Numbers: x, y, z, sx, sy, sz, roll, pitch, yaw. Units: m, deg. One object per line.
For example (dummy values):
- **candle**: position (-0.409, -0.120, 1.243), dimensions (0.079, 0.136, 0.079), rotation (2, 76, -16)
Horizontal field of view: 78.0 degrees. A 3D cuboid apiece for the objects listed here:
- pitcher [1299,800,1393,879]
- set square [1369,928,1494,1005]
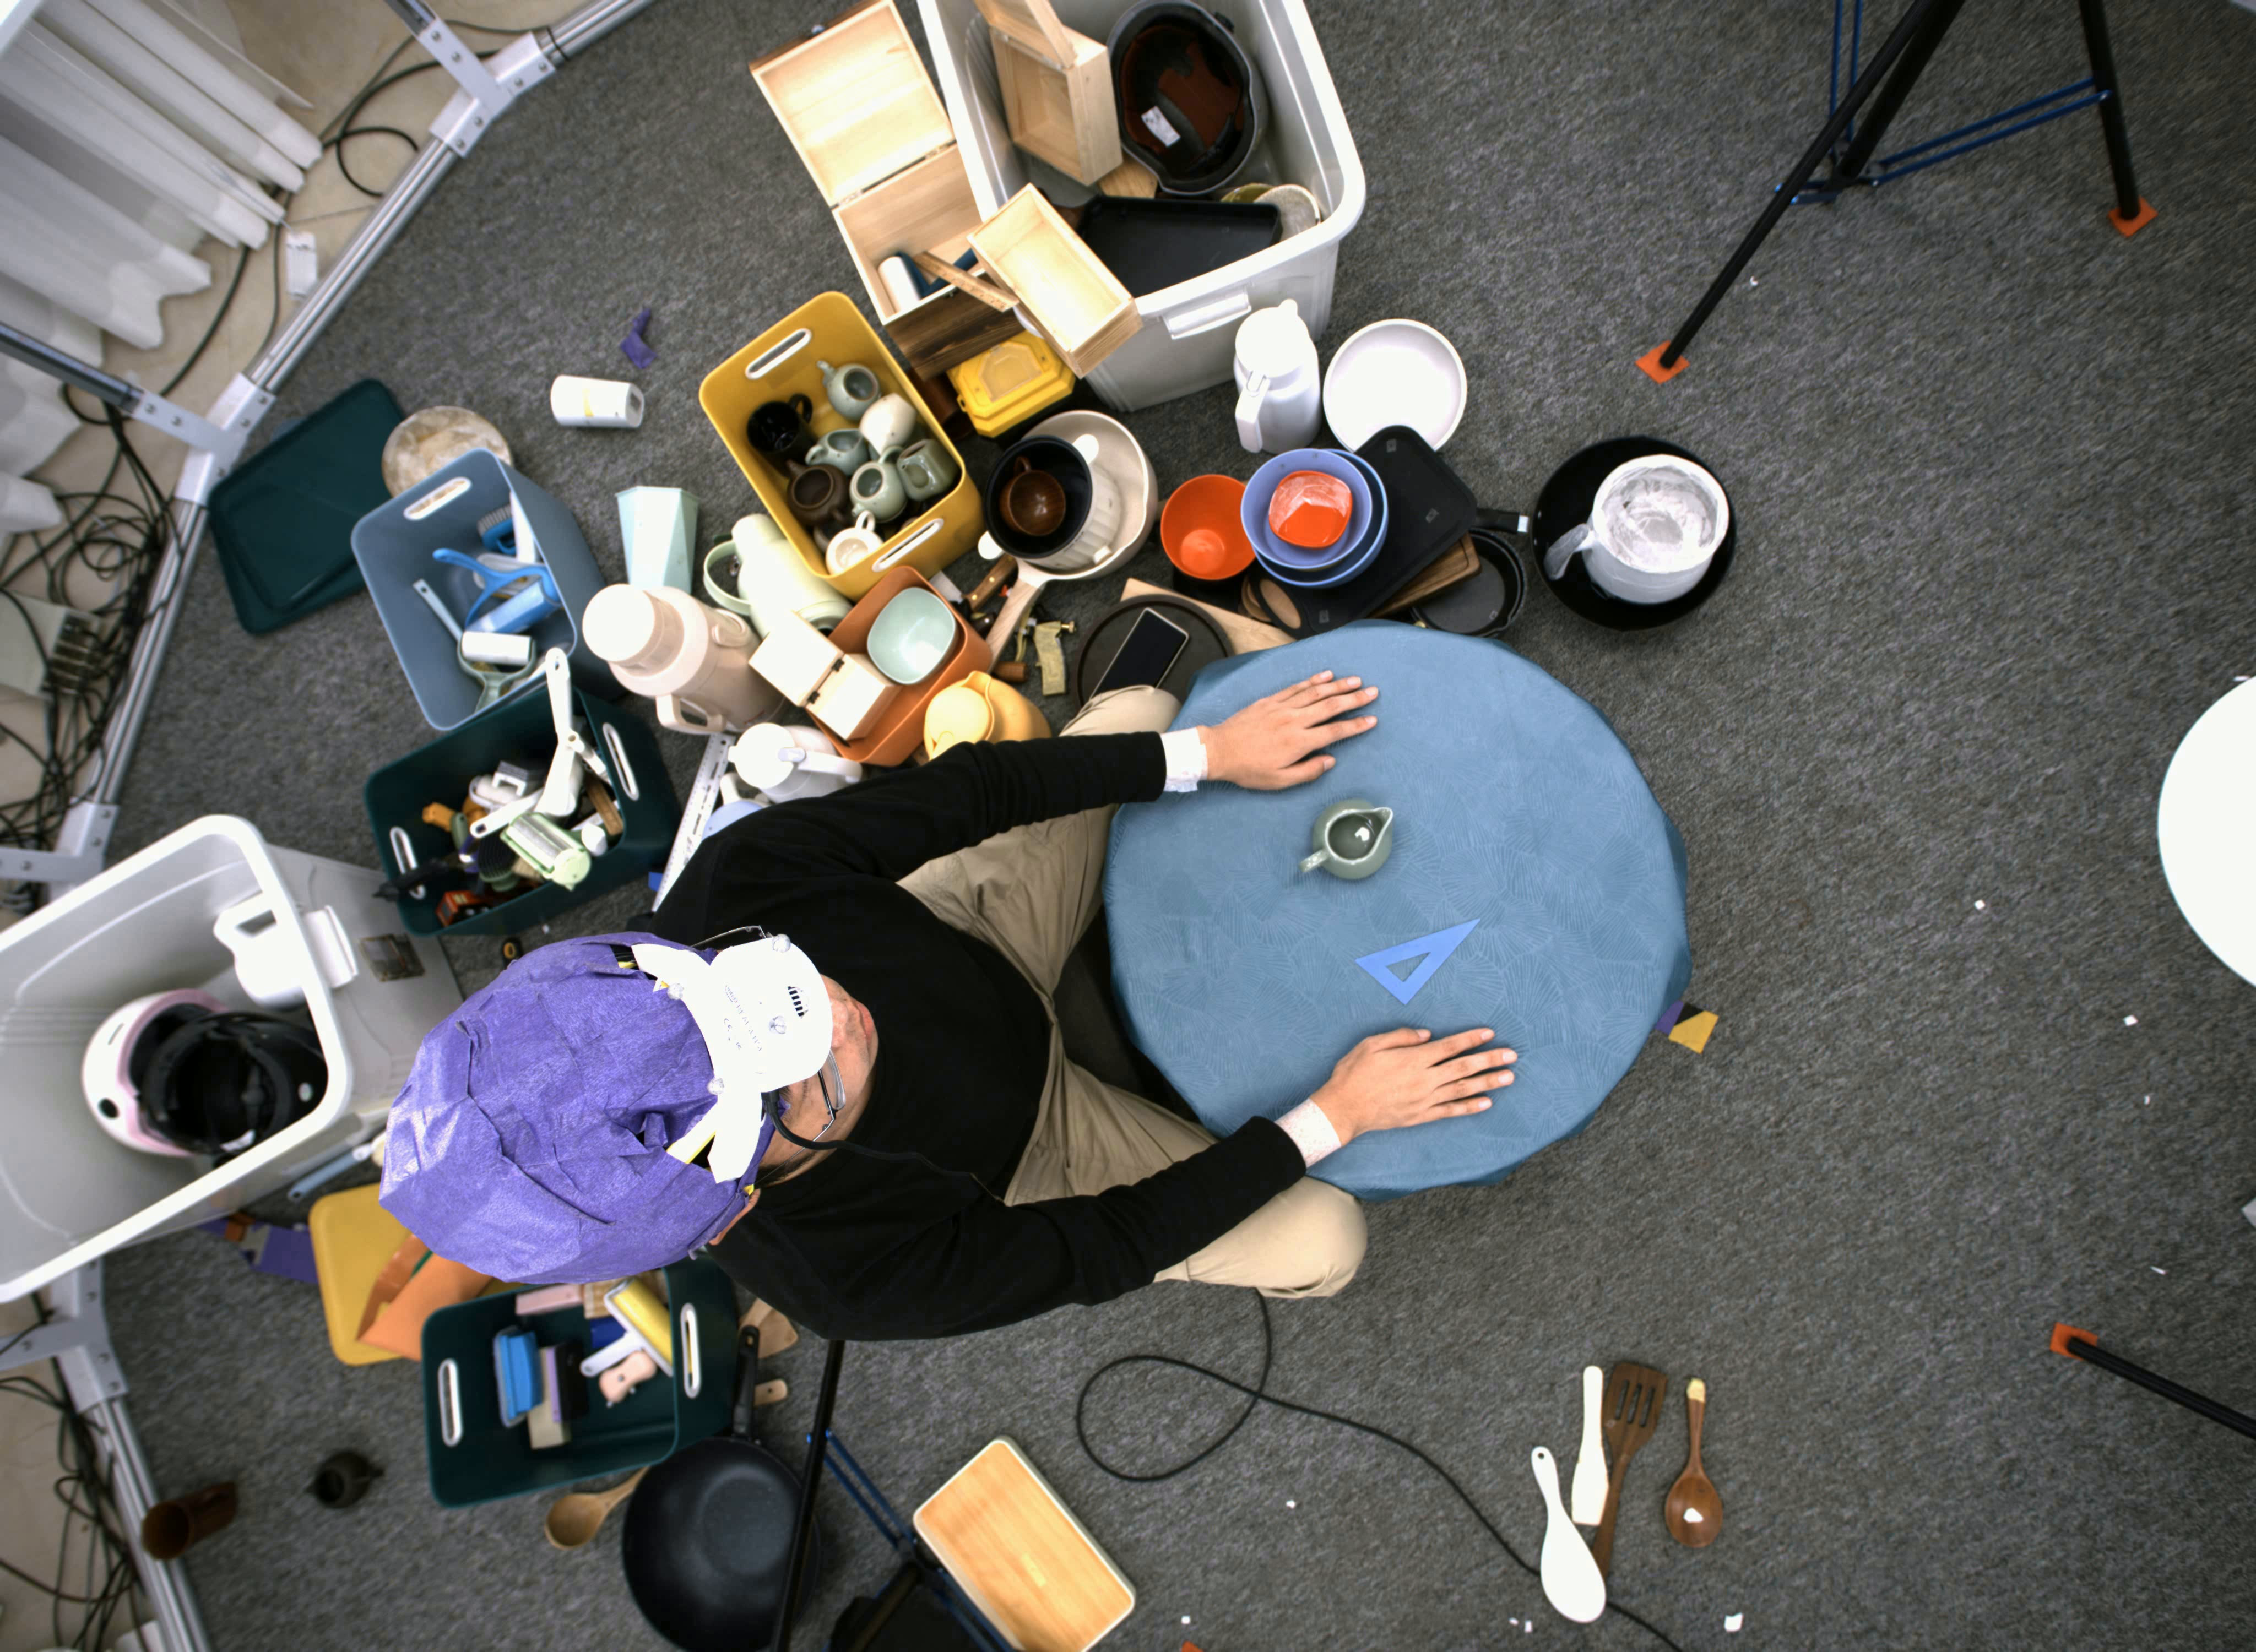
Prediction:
- **pitcher**: position (0.228, 0.016, 1.443), dimensions (0.113, 0.056, 0.083), rotation (-34, 78, 7)
- **set square**: position (0.324, 0.147, 1.444), dimensions (0.133, 0.006, 0.061), rotation (-16, 83, 9)
